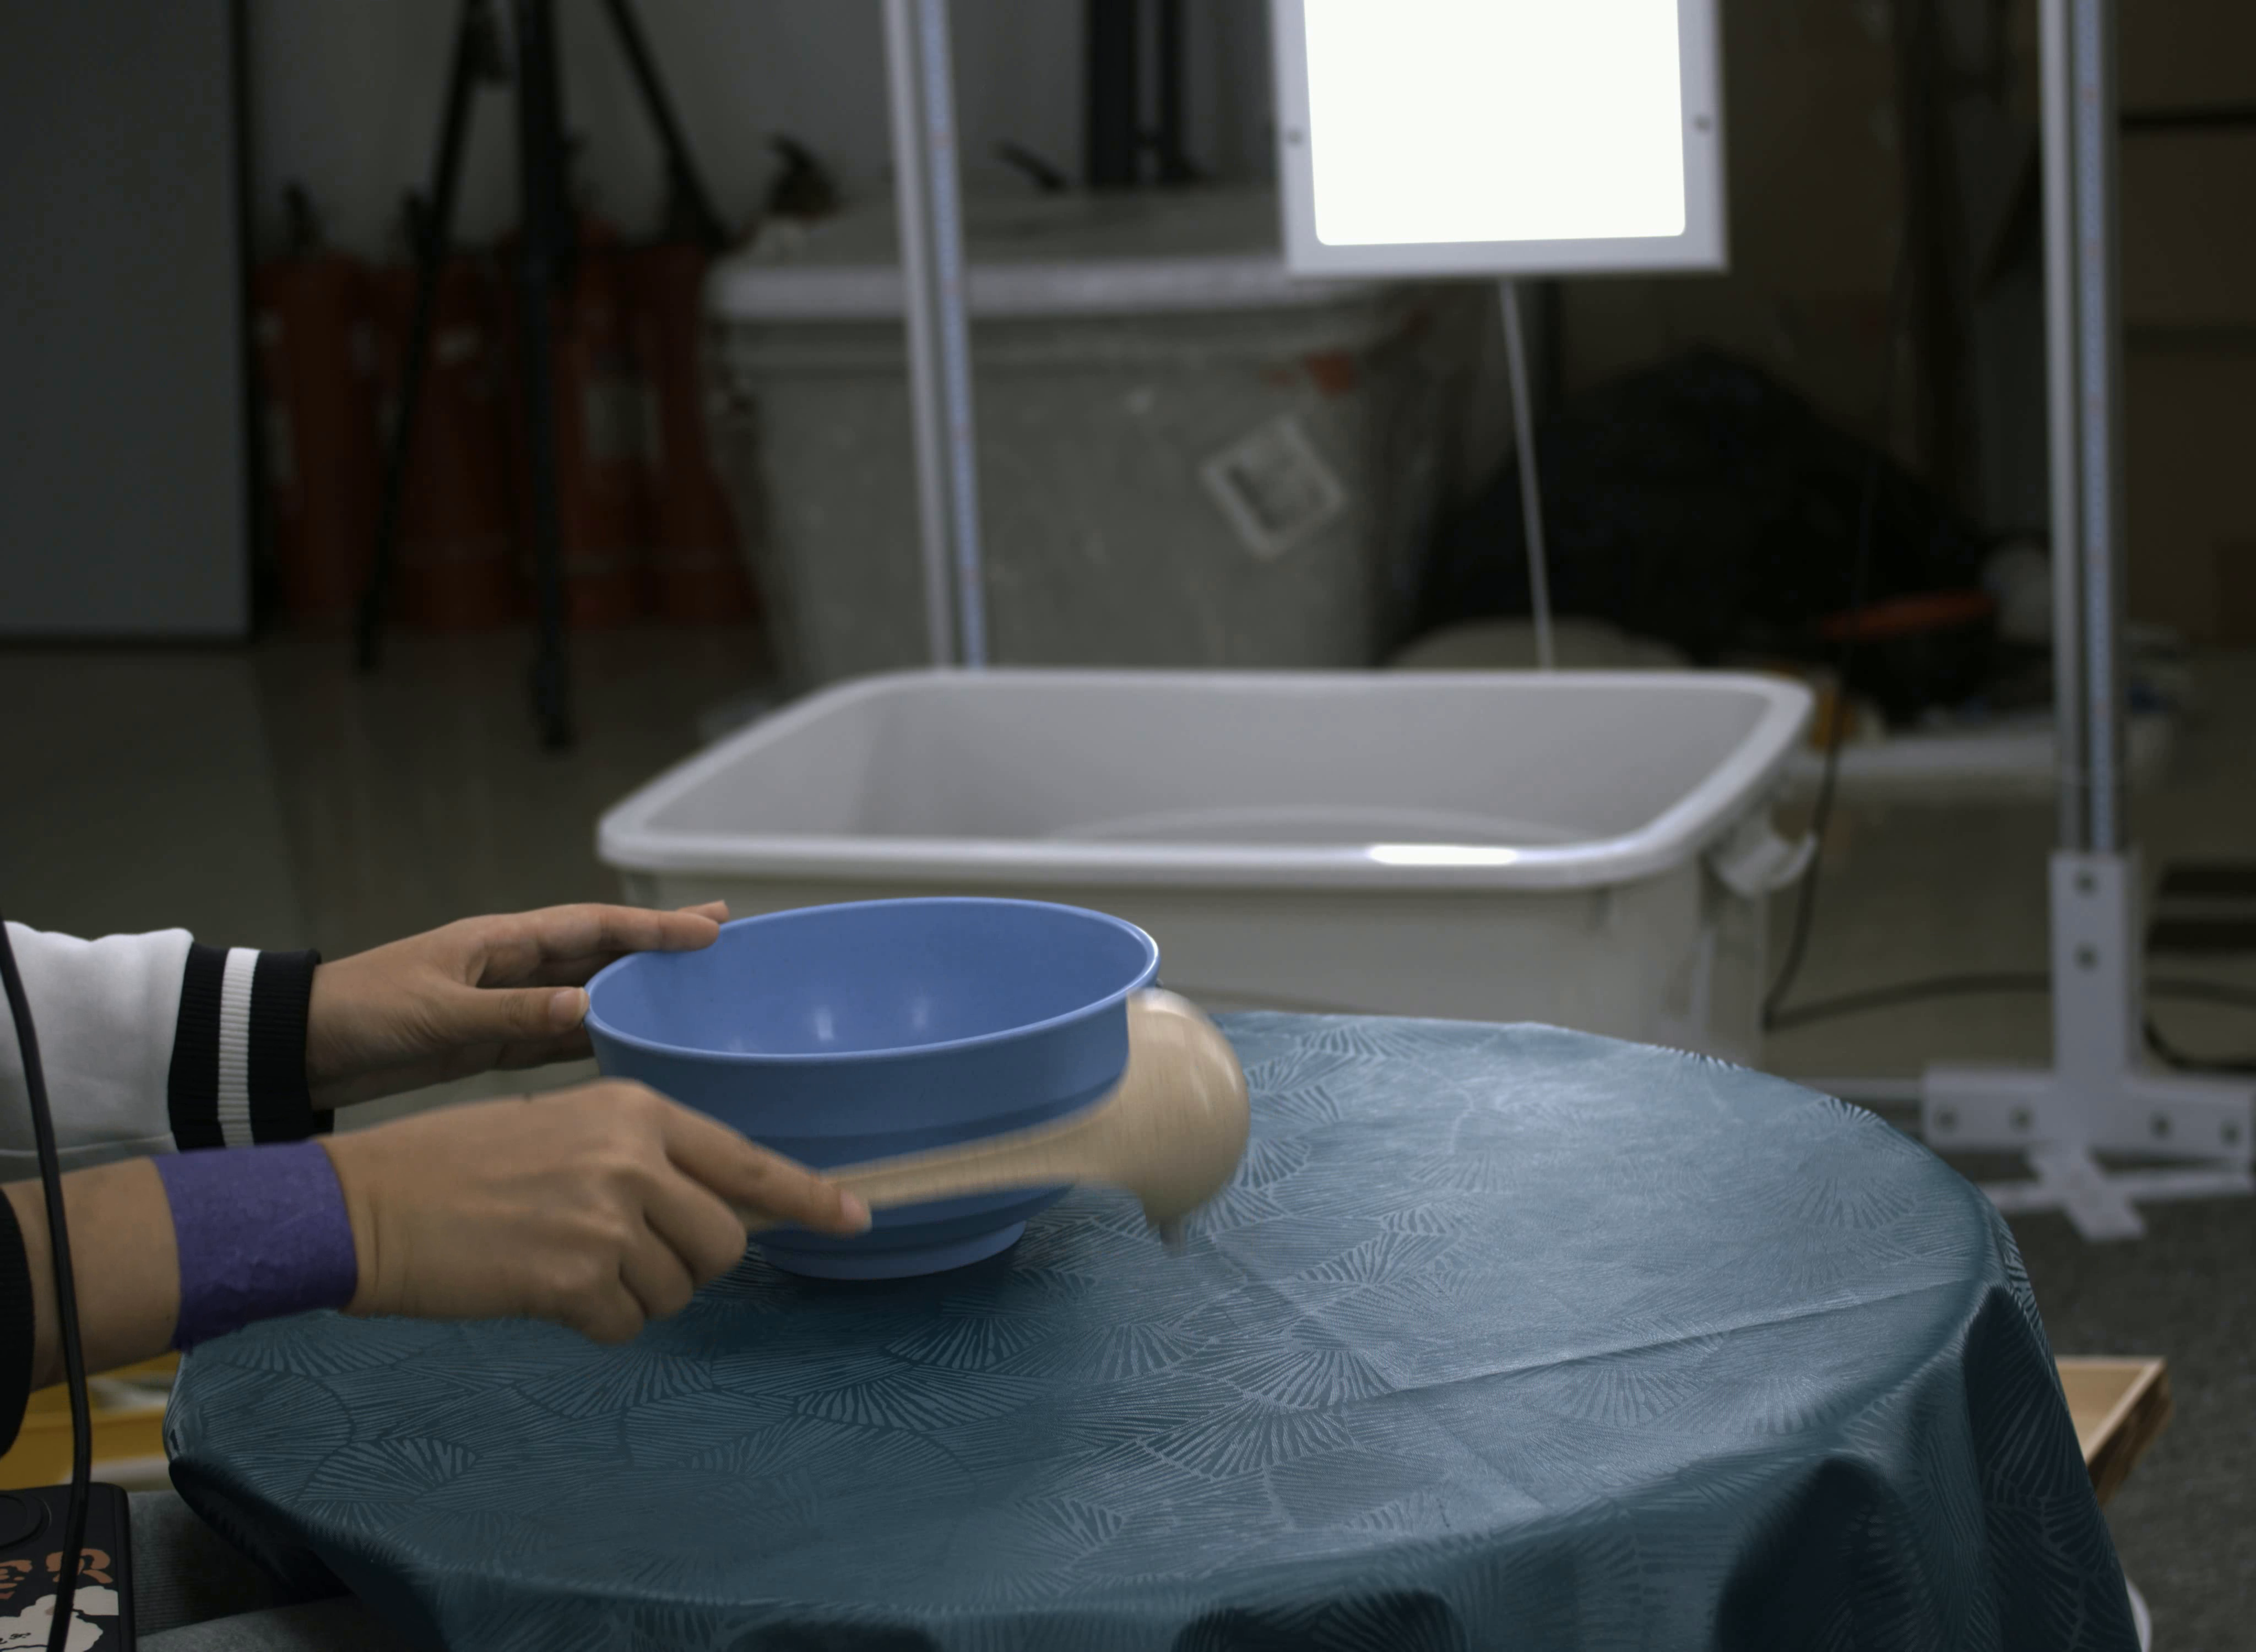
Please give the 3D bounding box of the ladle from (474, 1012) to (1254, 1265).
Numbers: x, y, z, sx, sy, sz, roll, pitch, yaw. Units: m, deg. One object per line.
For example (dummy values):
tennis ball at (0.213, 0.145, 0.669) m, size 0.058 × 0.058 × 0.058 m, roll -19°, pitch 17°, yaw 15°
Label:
ladle at (-0.083, 0.100, 1.629) m, size 0.249 × 0.072 × 0.074 m, roll -4°, pitch 15°, yaw -22°

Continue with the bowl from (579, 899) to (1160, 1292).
bowl at (-0.083, 0.097, 1.862) m, size 0.196 × 0.096 × 0.196 m, roll -5°, pitch 15°, yaw 0°
